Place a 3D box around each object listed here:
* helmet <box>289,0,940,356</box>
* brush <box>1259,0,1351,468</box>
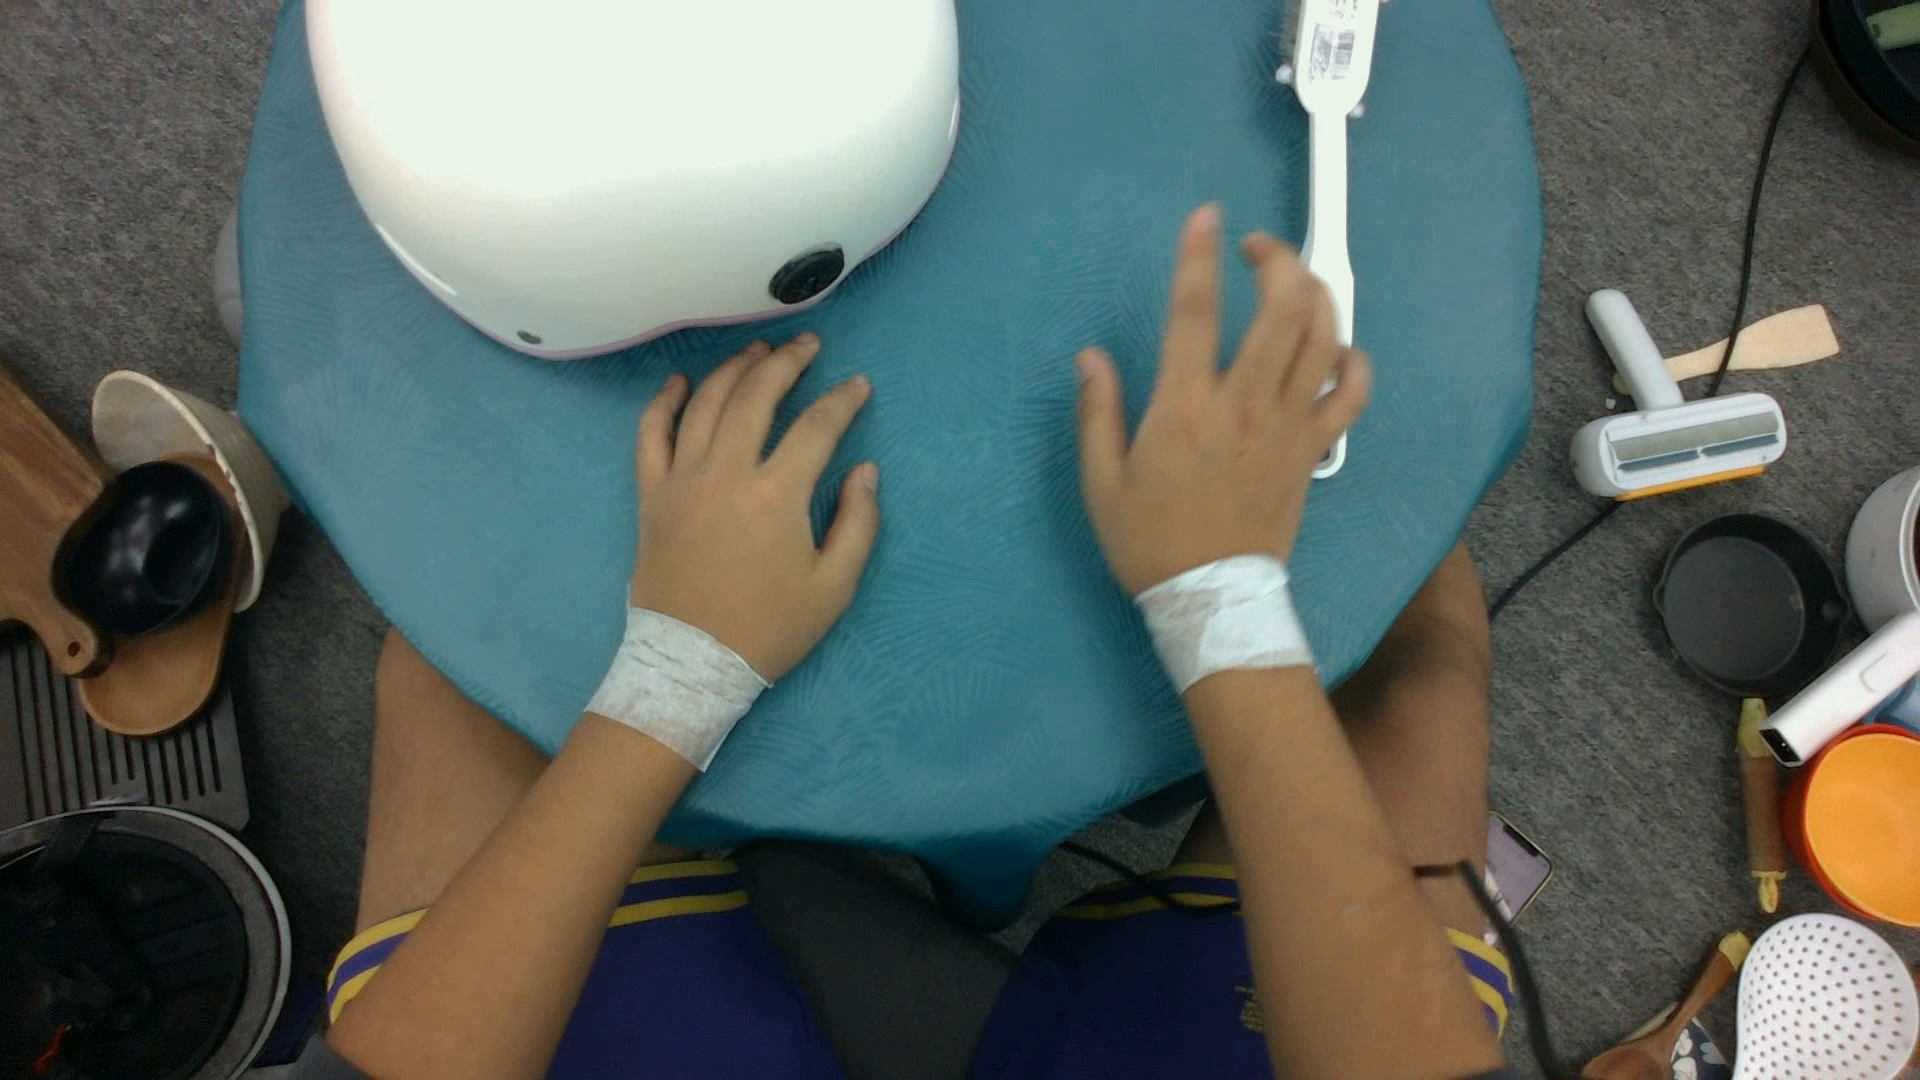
[{"bbox_3d":[-0.138,-0.214,0.561,0.269,0.166,0.237,-22,81,-7],"label":"helmet"},{"bbox_3d":[0.158,-0.155,0.637,0.034,0.050,0.243,0,92,-3],"label":"brush"}]
